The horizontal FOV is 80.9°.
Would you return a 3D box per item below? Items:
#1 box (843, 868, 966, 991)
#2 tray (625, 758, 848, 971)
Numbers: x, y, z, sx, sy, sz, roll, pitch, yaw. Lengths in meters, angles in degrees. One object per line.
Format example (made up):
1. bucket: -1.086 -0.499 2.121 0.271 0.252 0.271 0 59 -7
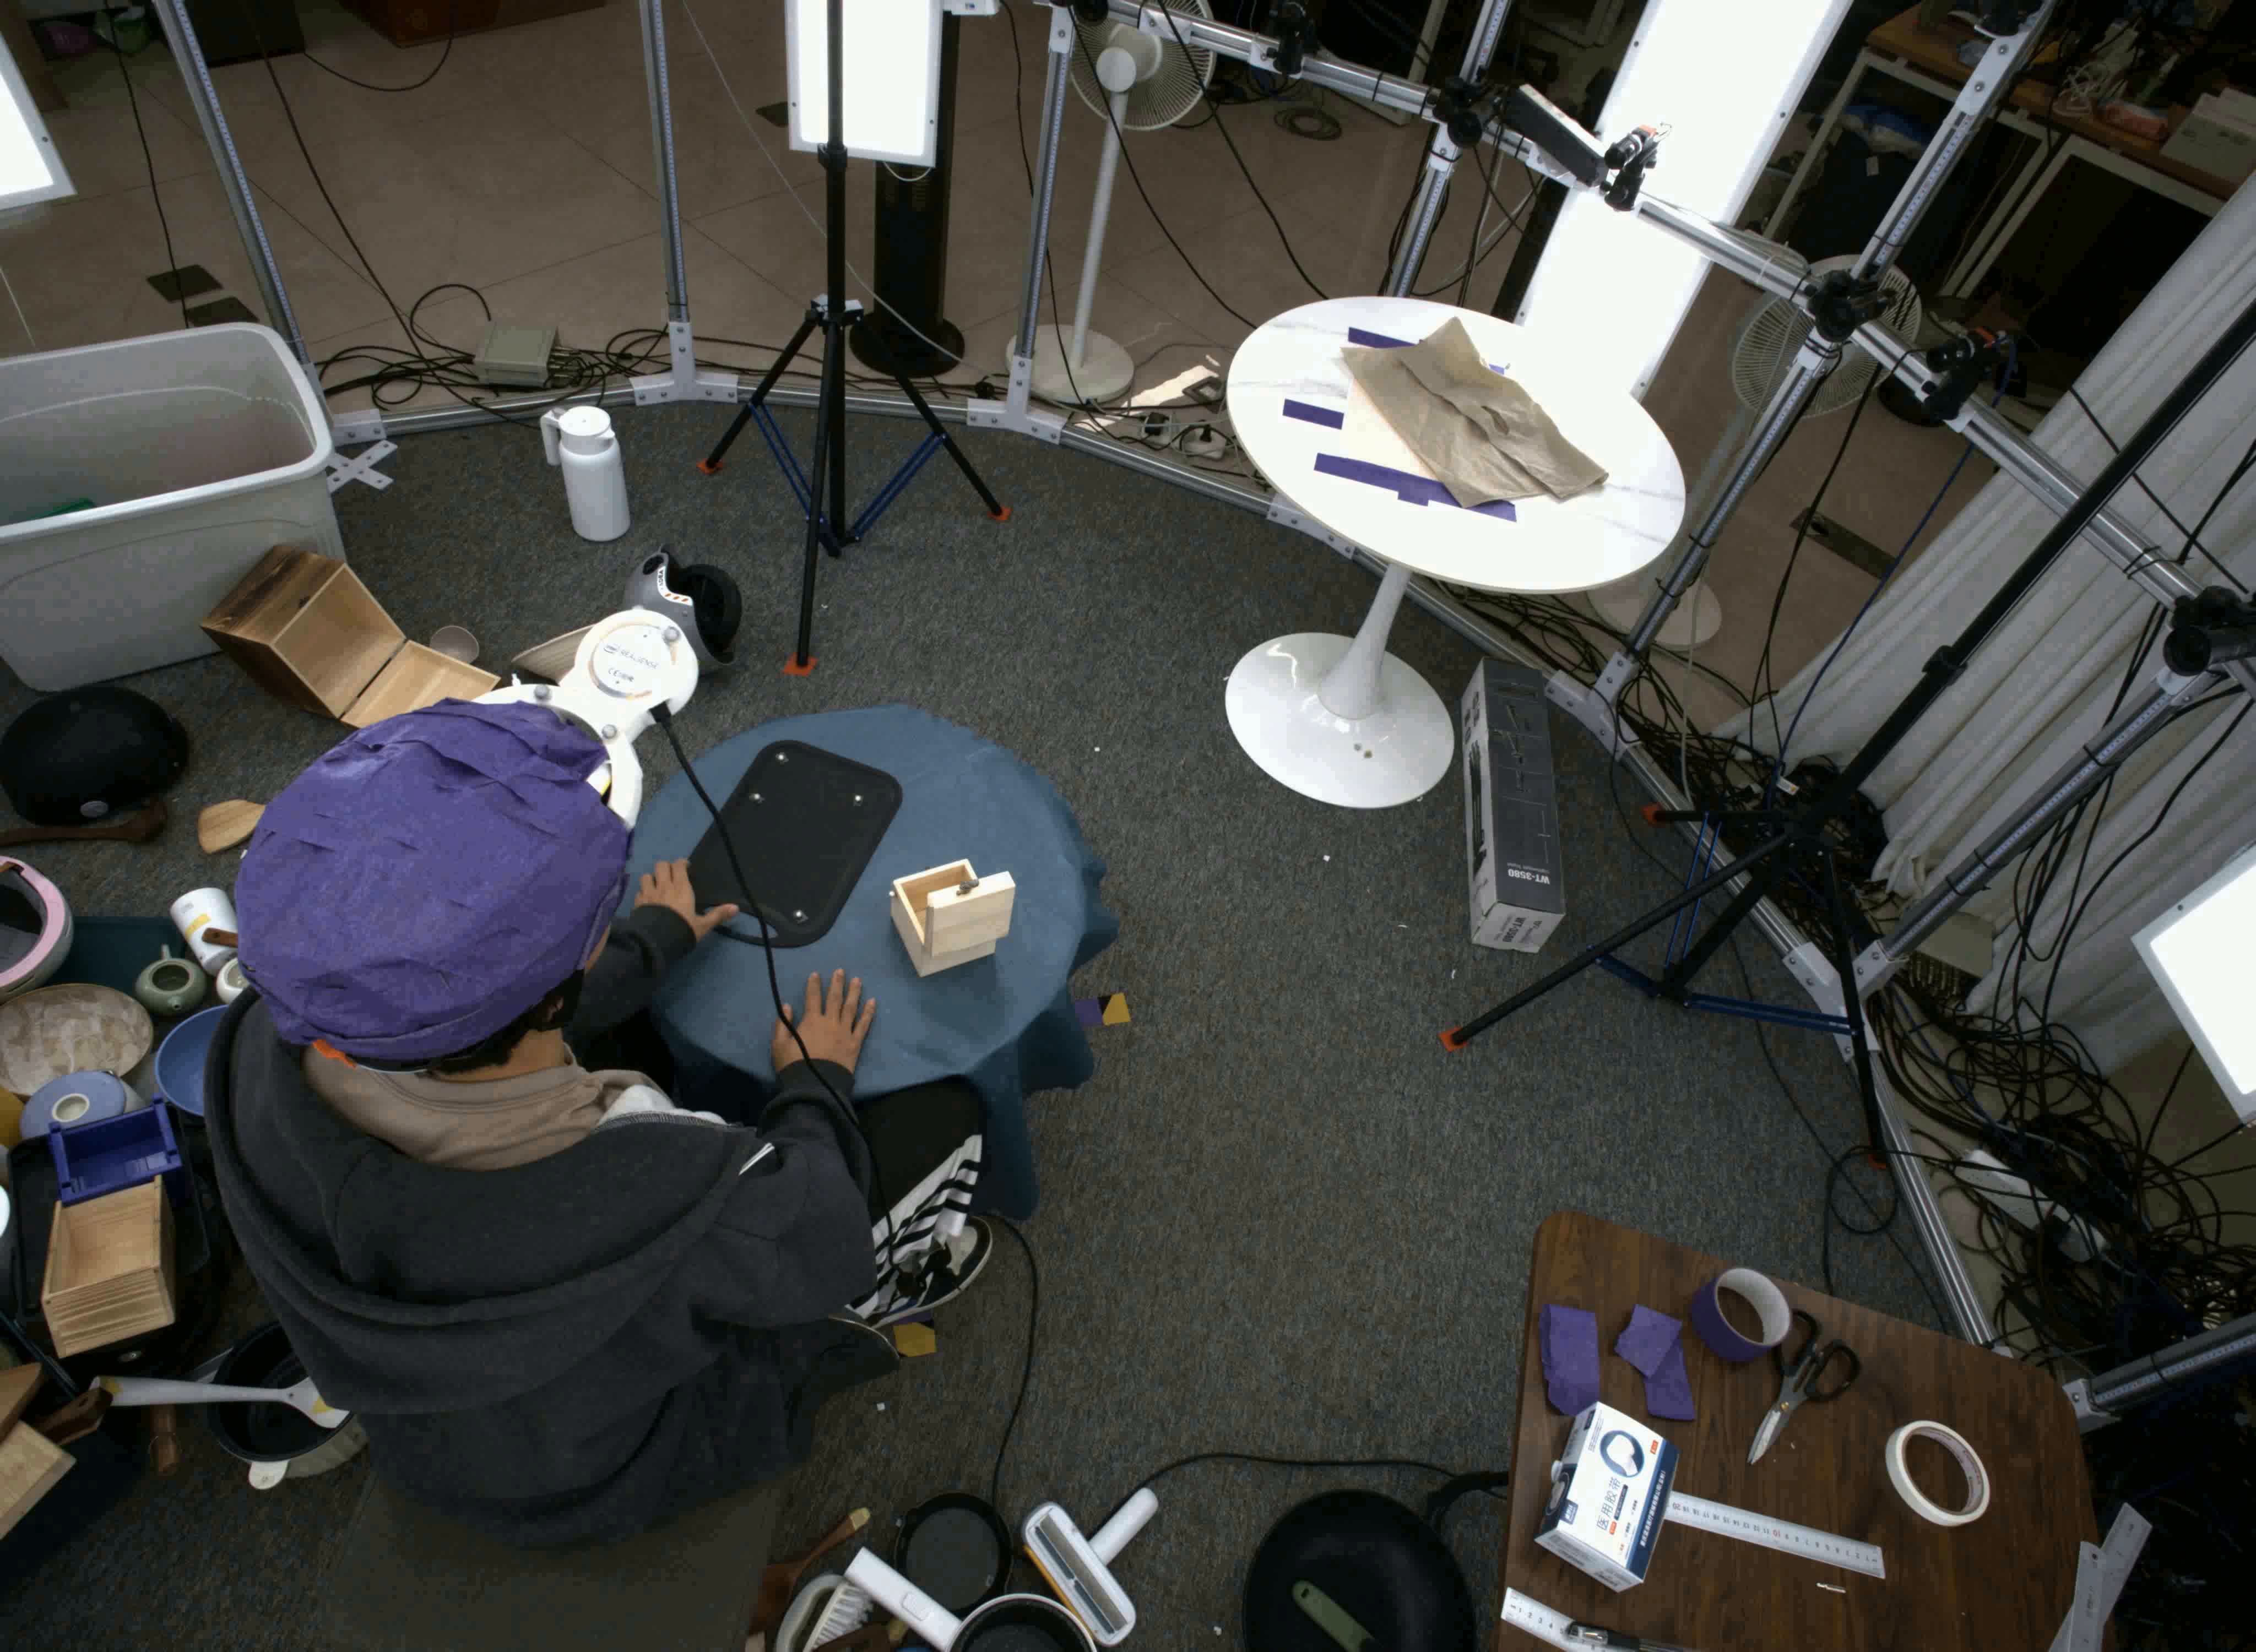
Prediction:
1. box: -0.274 0.100 1.573 0.103 0.188 0.130 -21 61 -27
2. tray: -0.505 0.045 1.671 0.209 0.010 0.322 18 52 0
